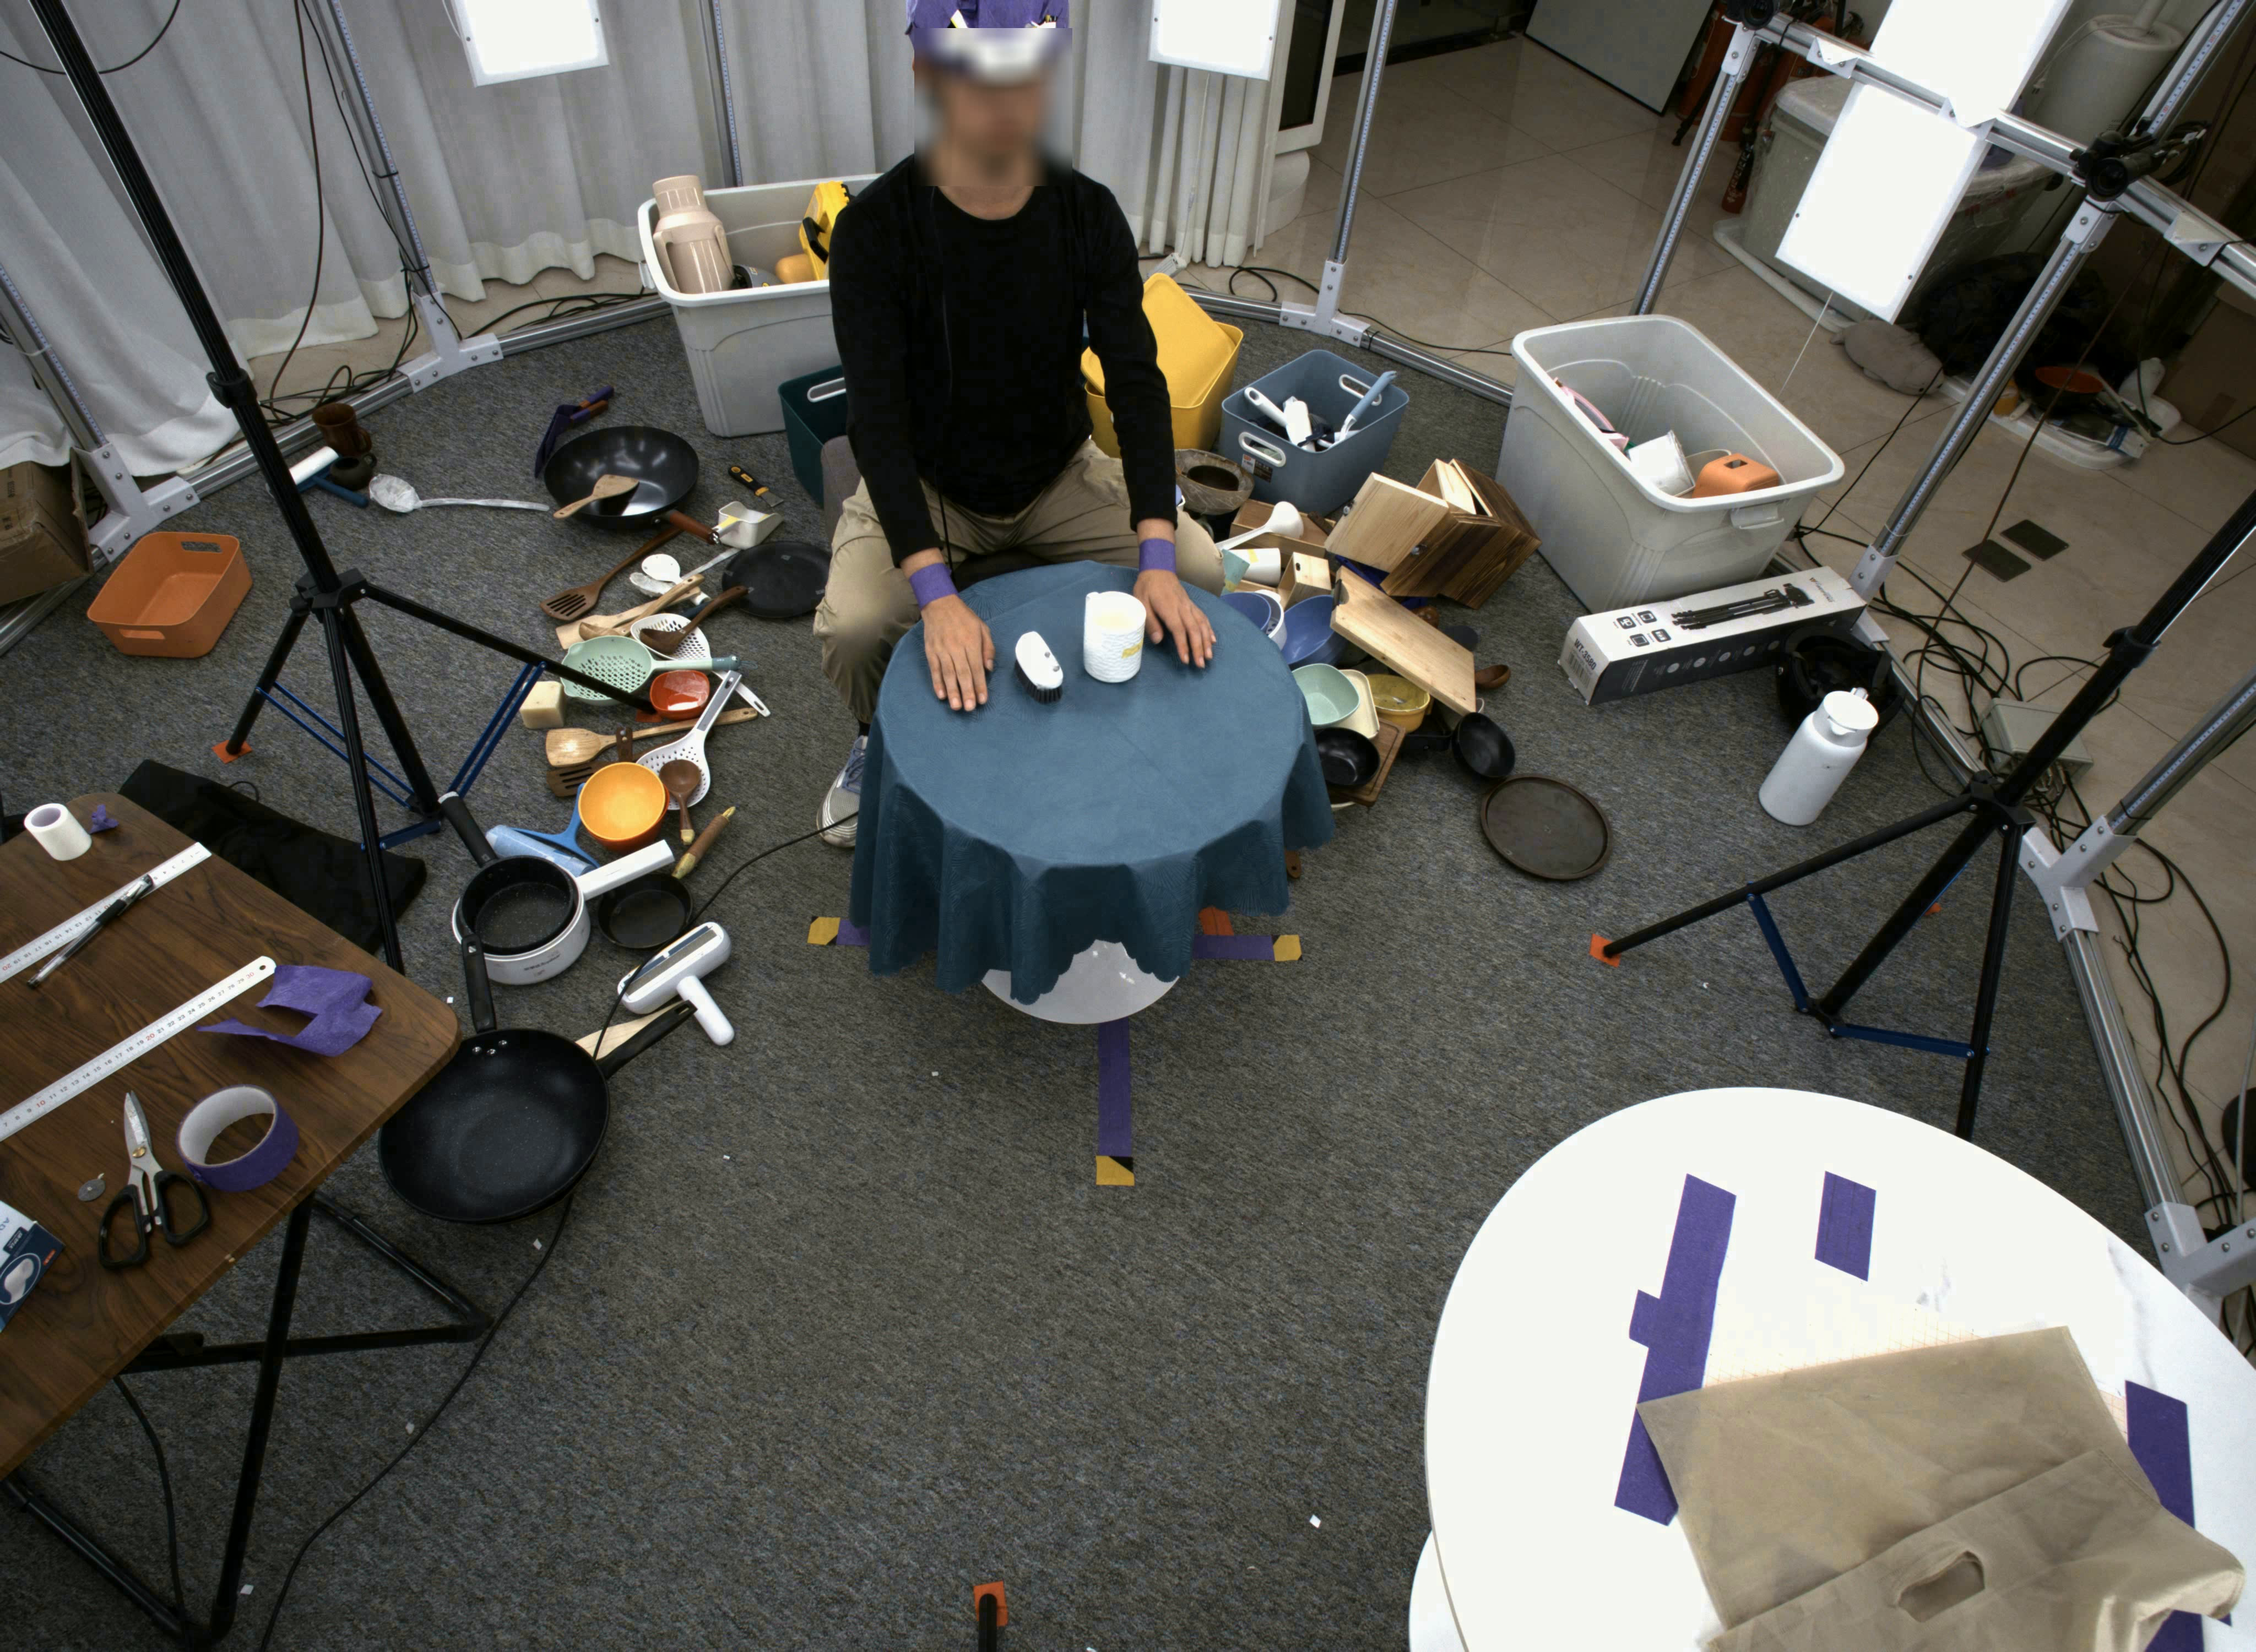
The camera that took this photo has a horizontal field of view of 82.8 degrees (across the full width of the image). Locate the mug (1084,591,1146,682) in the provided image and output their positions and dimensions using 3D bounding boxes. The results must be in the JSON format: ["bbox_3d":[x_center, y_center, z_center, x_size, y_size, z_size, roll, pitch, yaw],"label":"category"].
[{"bbox_3d":[-0.028,-0.280,1.840,0.085,0.099,0.121,-21,54,-20],"label":"mug"}]

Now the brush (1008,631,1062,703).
[{"bbox_3d":[-0.129,-0.232,1.810,0.050,0.071,0.101,-23,59,-28],"label":"brush"}]
